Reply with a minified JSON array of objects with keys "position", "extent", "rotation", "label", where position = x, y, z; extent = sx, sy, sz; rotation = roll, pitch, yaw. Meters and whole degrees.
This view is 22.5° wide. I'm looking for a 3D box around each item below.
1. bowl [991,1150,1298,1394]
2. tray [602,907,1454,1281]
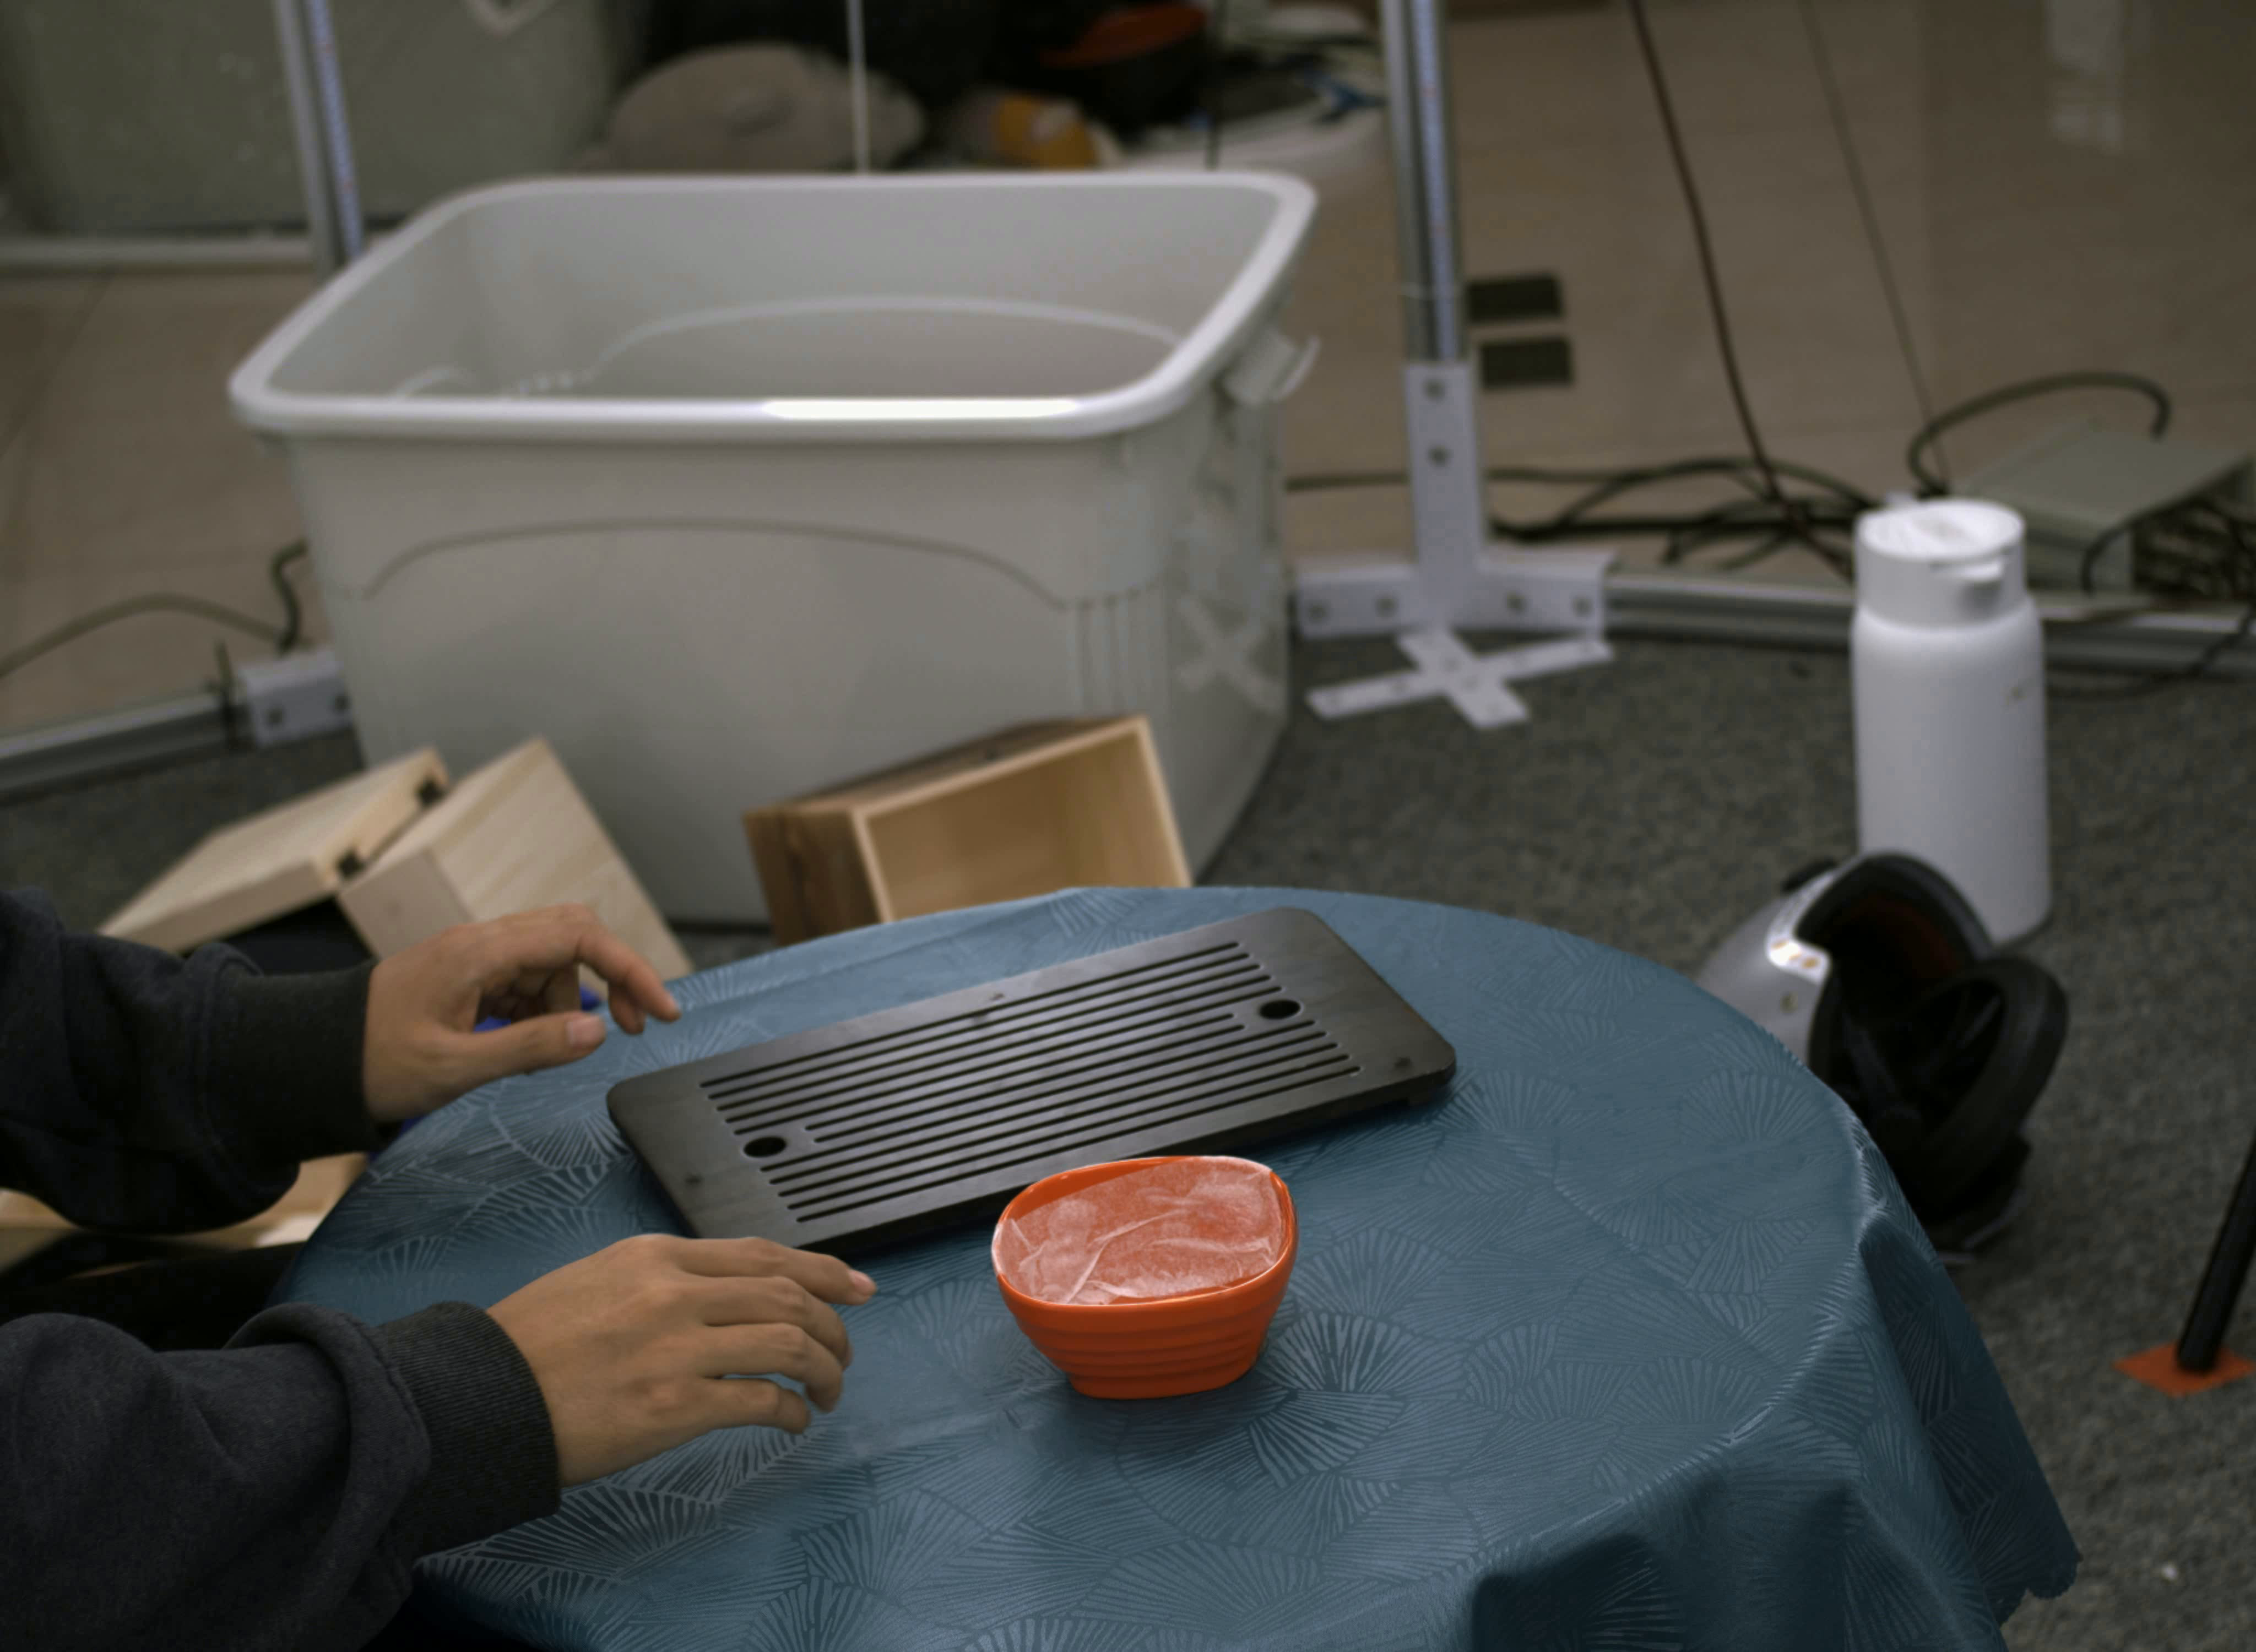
[{"position":[0.008,0.164,2.026],"extent":[0.119,0.052,0.117],"rotation":[-4,26,2],"label":"bowl"},{"position":[-0.040,0.103,2.212],"extent":[0.305,0.019,0.168],"rotation":[-15,26,-16],"label":"tray"}]
